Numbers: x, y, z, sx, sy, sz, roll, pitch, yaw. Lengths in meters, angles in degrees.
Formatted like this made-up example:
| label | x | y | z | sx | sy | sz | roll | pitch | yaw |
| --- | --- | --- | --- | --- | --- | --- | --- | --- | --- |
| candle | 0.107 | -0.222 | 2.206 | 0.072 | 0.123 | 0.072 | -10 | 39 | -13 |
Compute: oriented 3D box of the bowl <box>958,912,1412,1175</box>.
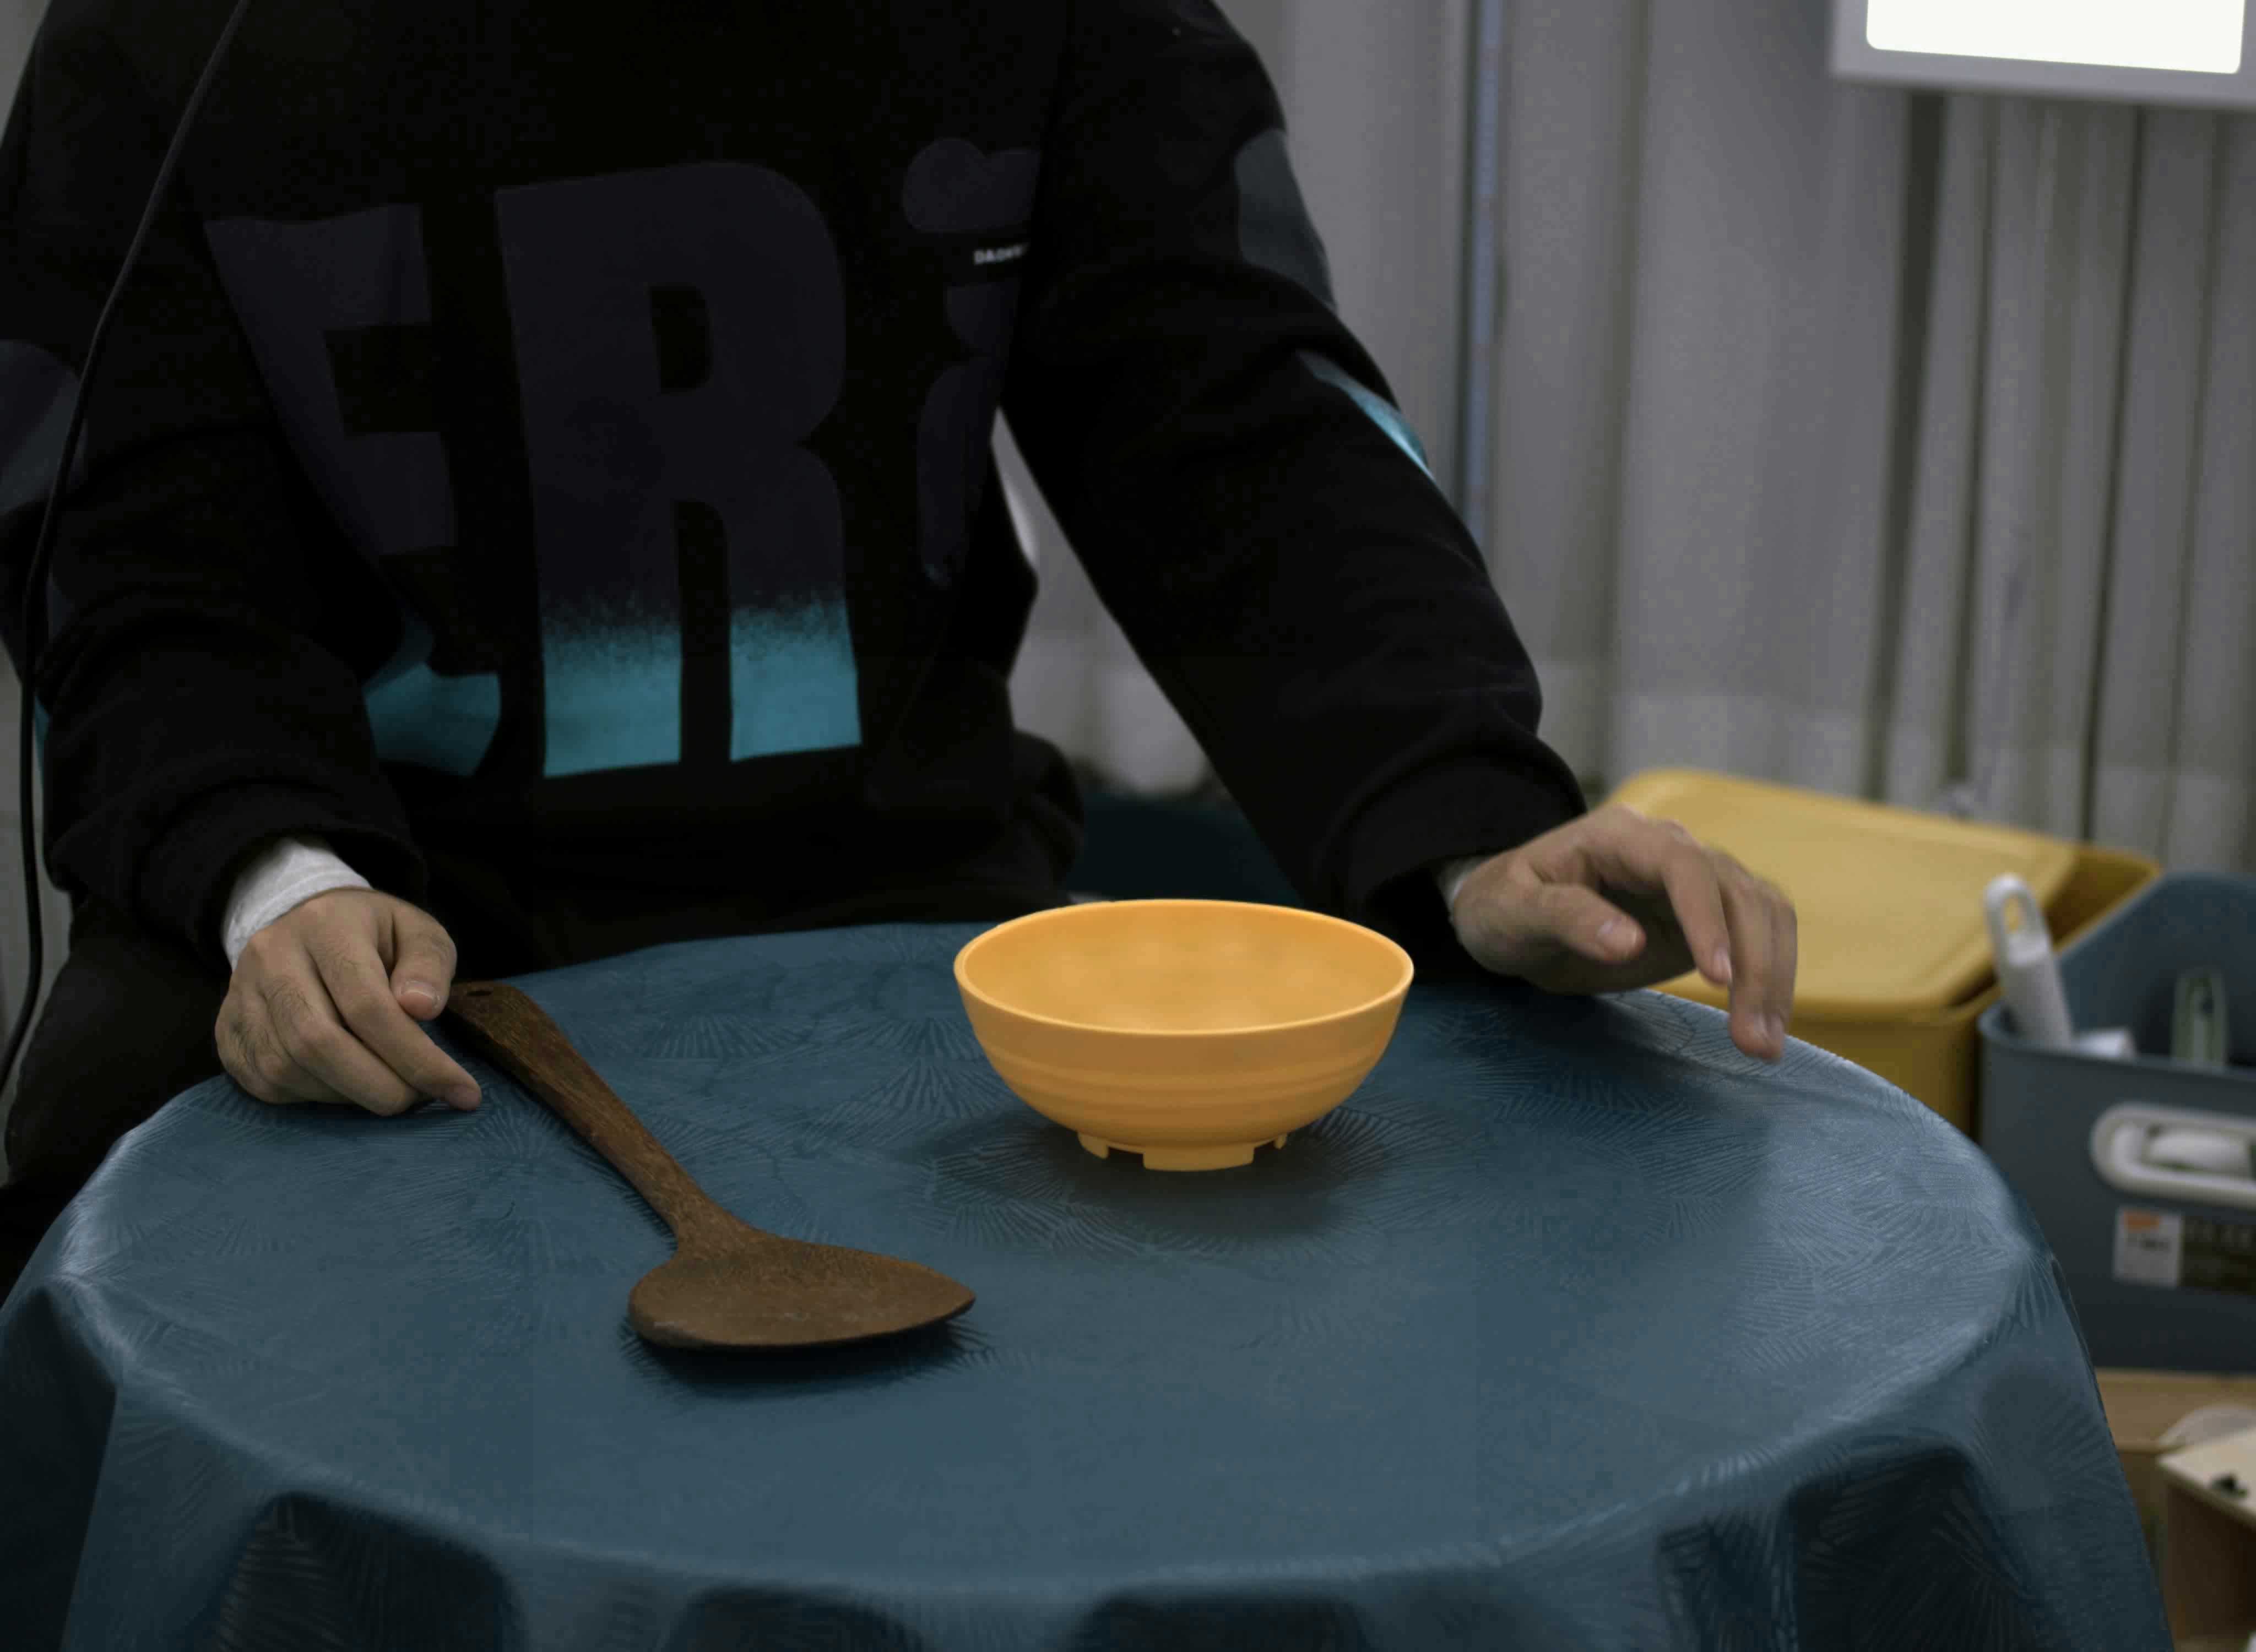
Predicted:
| label | x | y | z | sx | sy | sz | roll | pitch | yaw |
| --- | --- | --- | --- | --- | --- | --- | --- | --- | --- |
| bowl | 0.017 | 0.073 | 1.666 | 0.145 | 0.060 | 0.144 | 1 | 14 | 0 |

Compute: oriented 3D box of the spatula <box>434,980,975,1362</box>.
| label | x | y | z | sx | sy | sz | roll | pitch | yaw |
| --- | --- | --- | --- | --- | --- | --- | --- | --- | --- |
| spatula | -0.154 | 0.101 | 1.637 | 0.096 | 0.016 | 0.381 | -6 | 17 | -22 |
